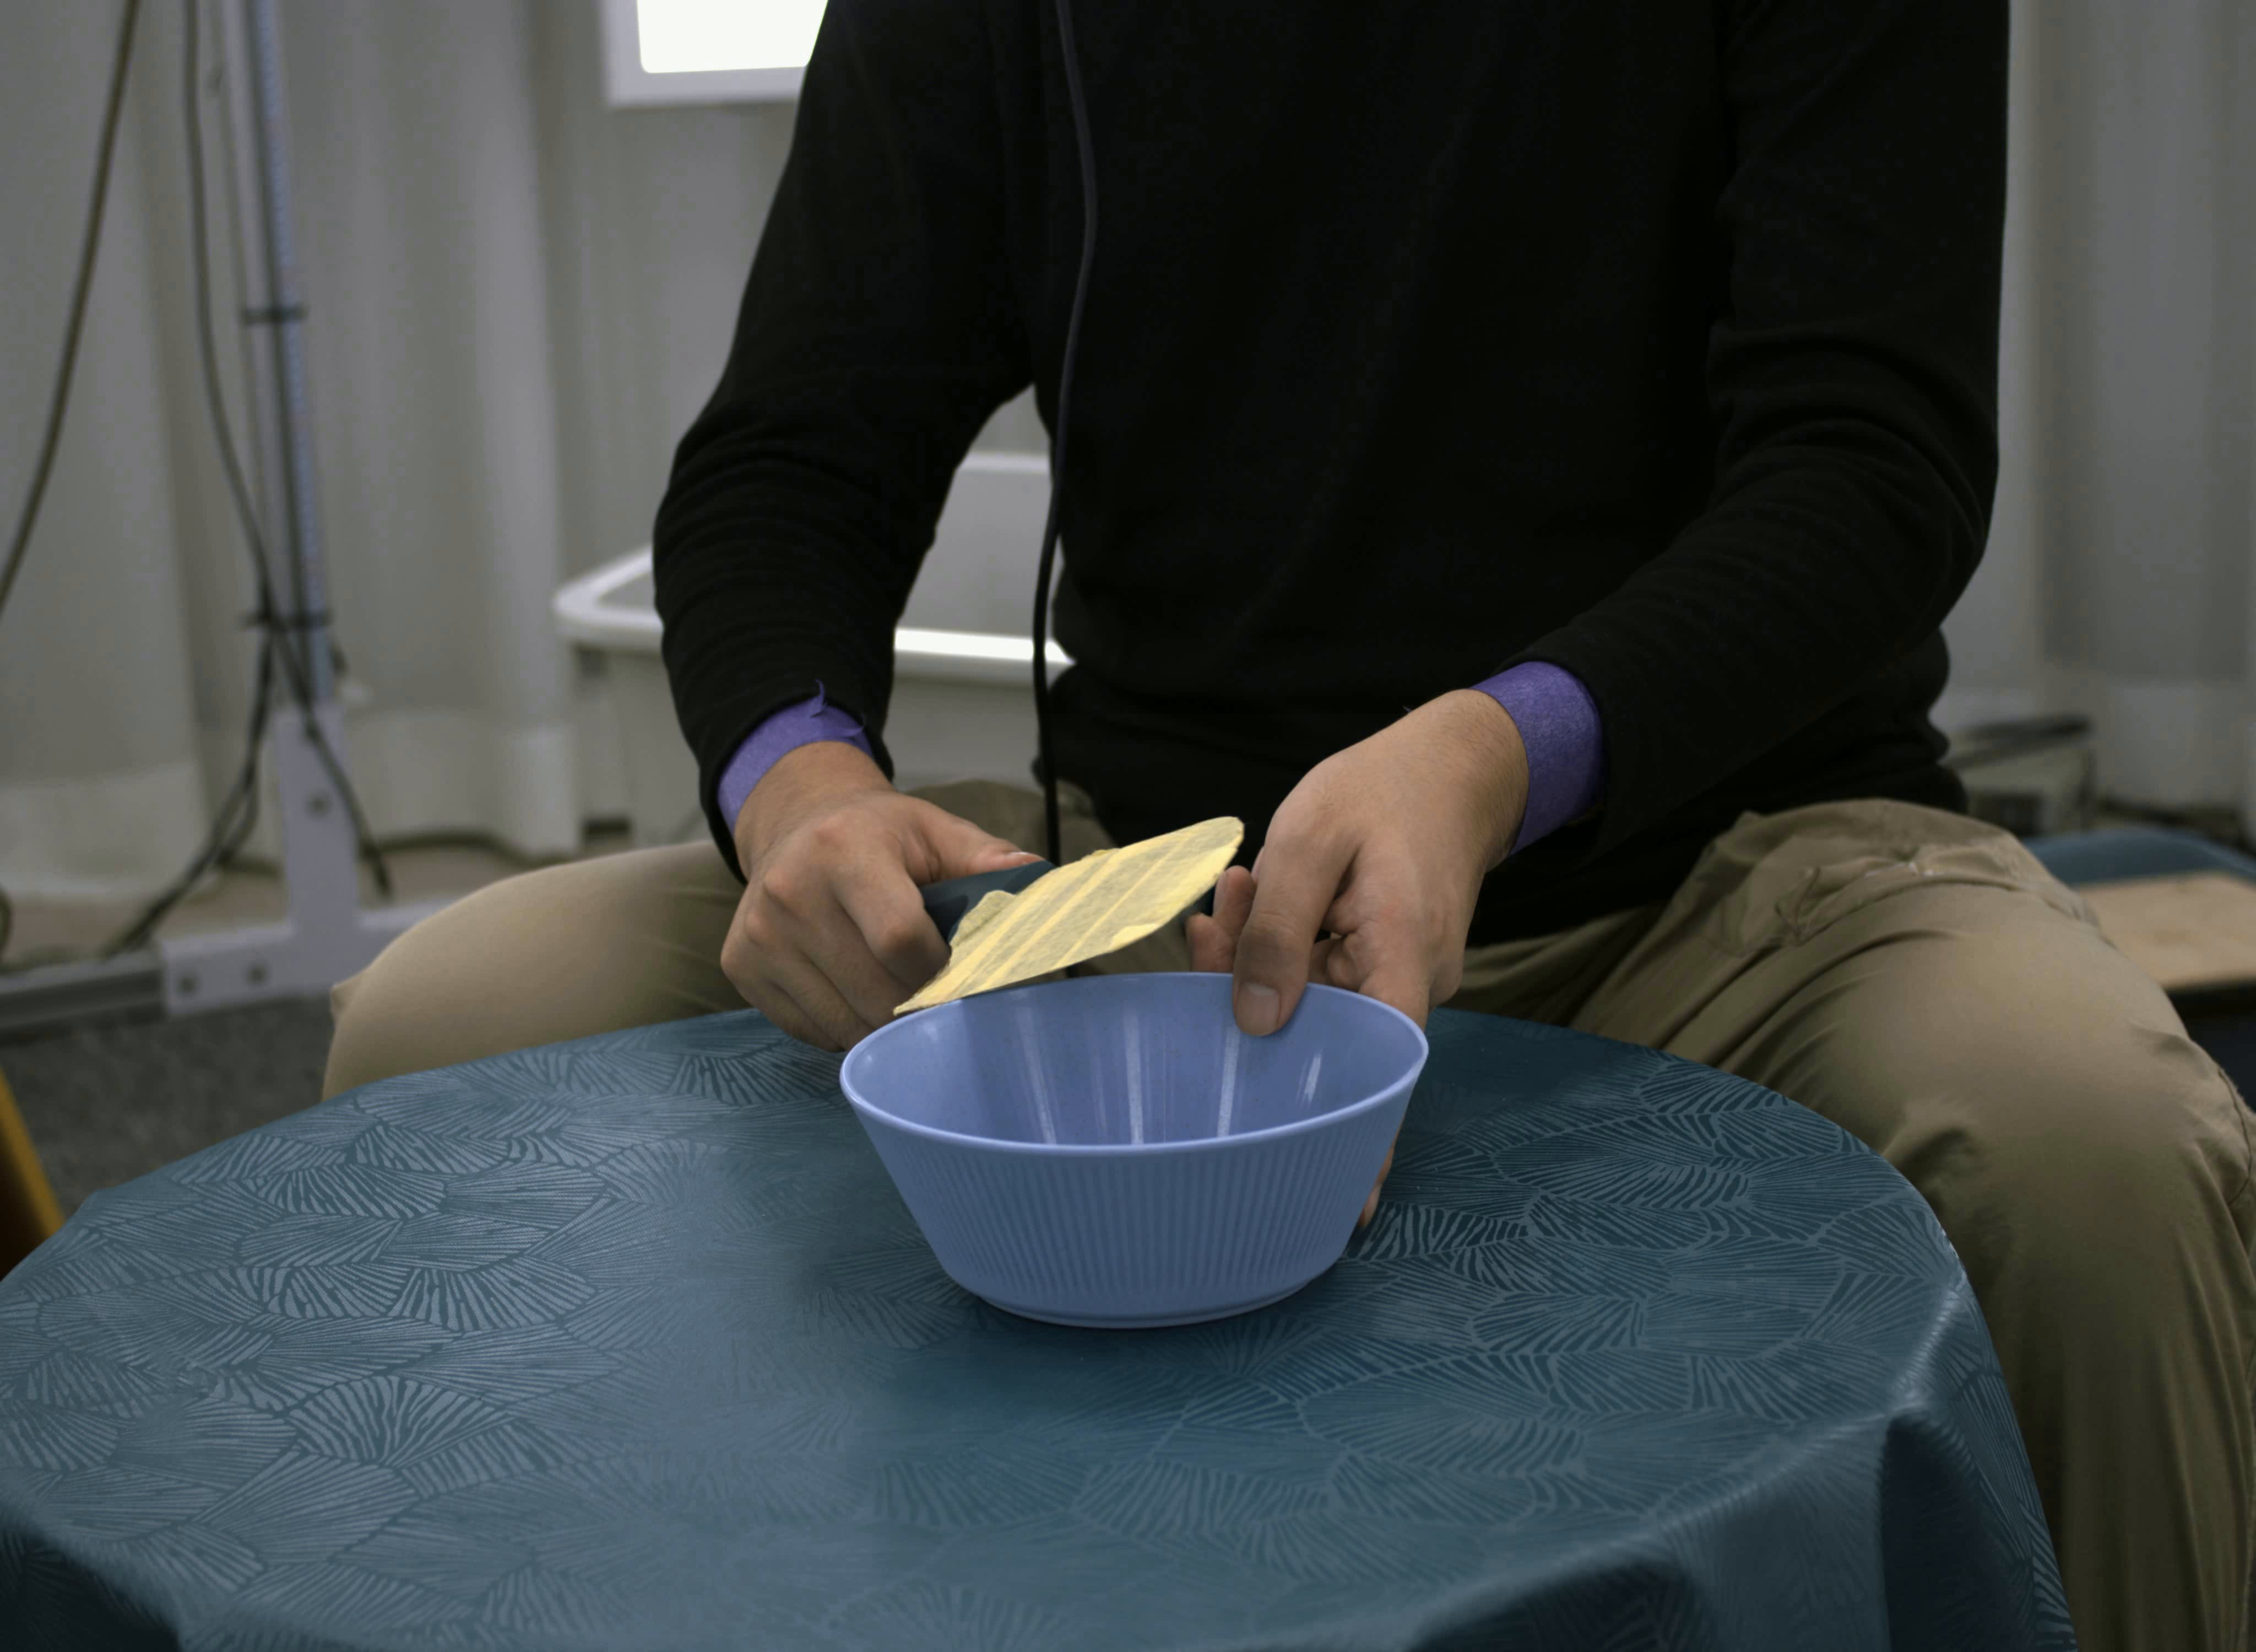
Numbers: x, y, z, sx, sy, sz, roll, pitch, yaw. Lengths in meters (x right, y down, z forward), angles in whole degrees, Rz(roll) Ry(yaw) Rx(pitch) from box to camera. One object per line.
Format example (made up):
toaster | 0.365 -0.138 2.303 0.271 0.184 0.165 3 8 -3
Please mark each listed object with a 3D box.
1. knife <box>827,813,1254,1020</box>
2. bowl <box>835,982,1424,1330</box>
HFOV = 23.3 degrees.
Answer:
knife | -0.037 0.036 1.735 0.081 0.027 0.289 -40 9 -27
bowl | 0.002 0.101 1.634 0.175 0.070 0.177 -3 14 1
